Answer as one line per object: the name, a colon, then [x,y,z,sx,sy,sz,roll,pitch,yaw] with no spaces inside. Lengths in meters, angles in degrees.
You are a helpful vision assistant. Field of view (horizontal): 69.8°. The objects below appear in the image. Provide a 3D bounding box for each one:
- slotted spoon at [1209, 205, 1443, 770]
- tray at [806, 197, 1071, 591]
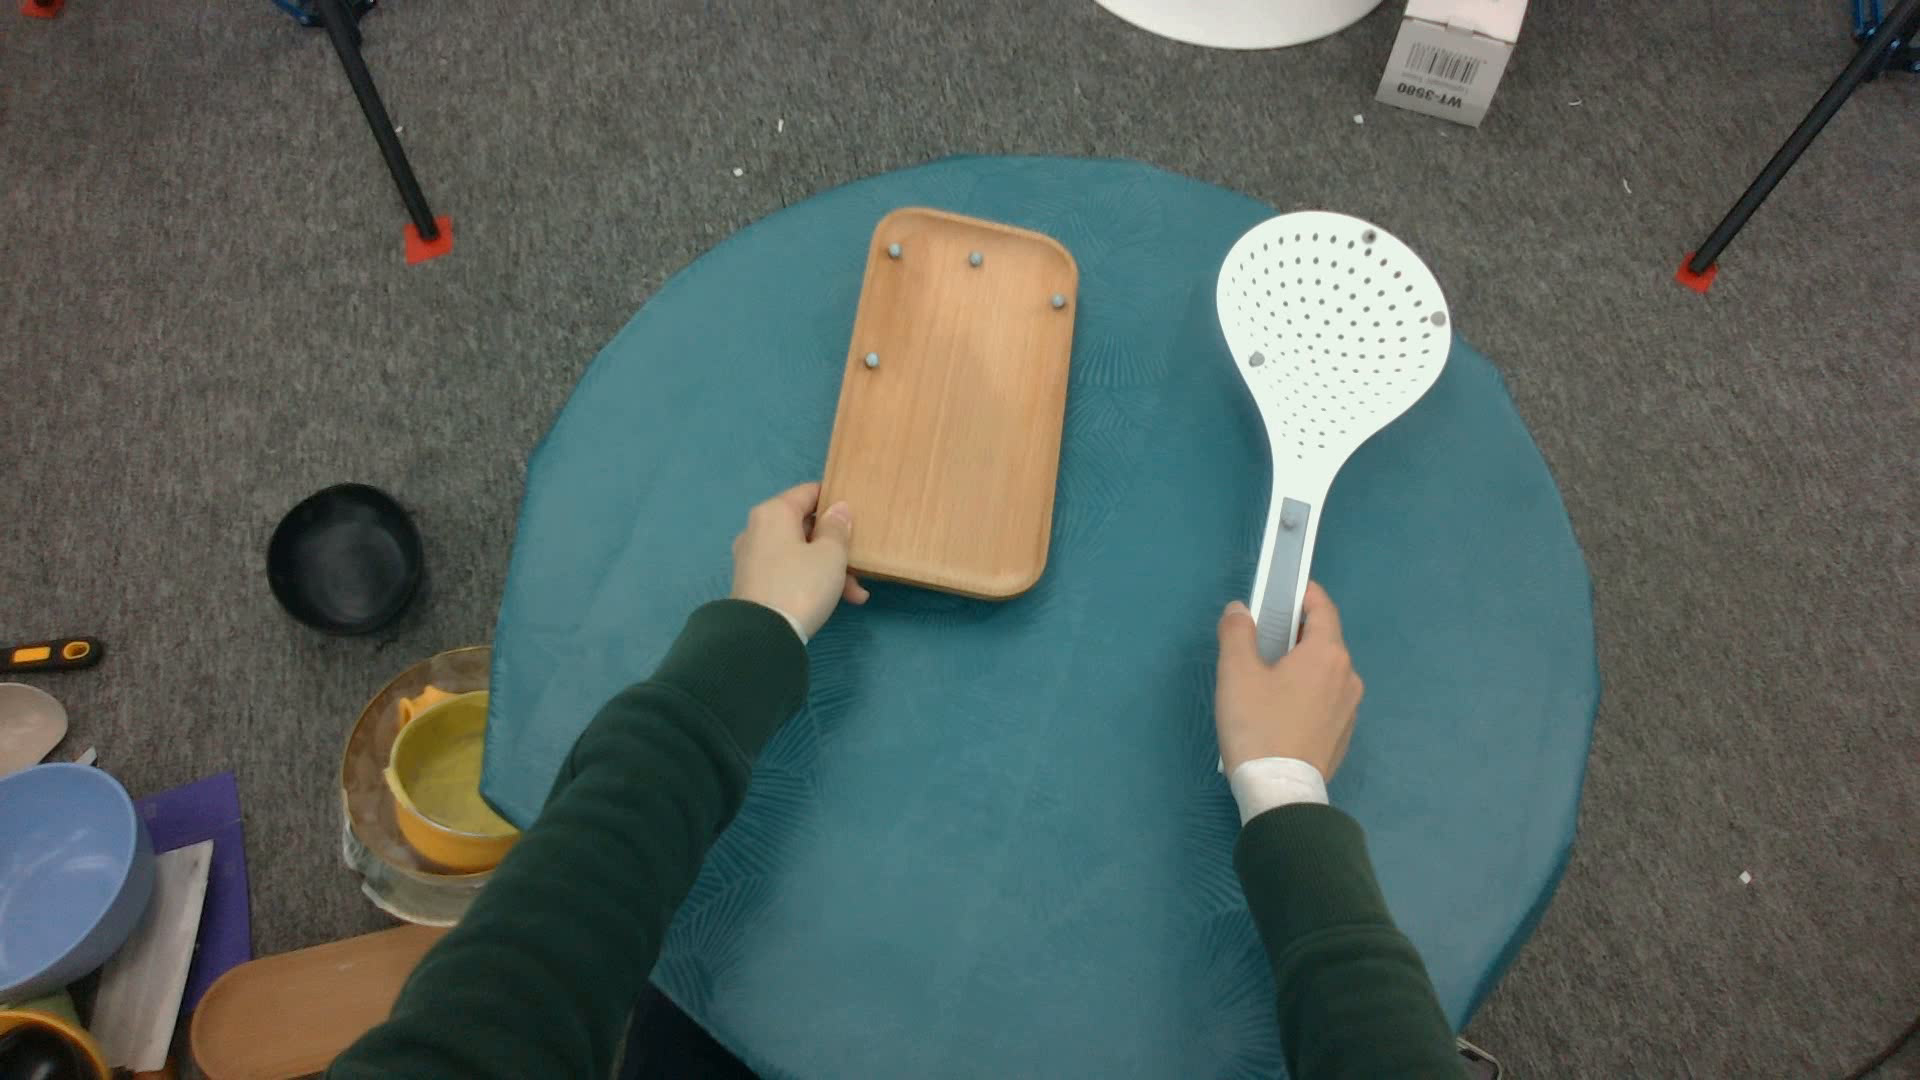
slotted spoon: [0.182,-0.041,0.751,0.136,0.045,0.351,17,60,1]
tray: [-0.007,-0.089,0.785,0.130,0.023,0.252,11,62,-4]
